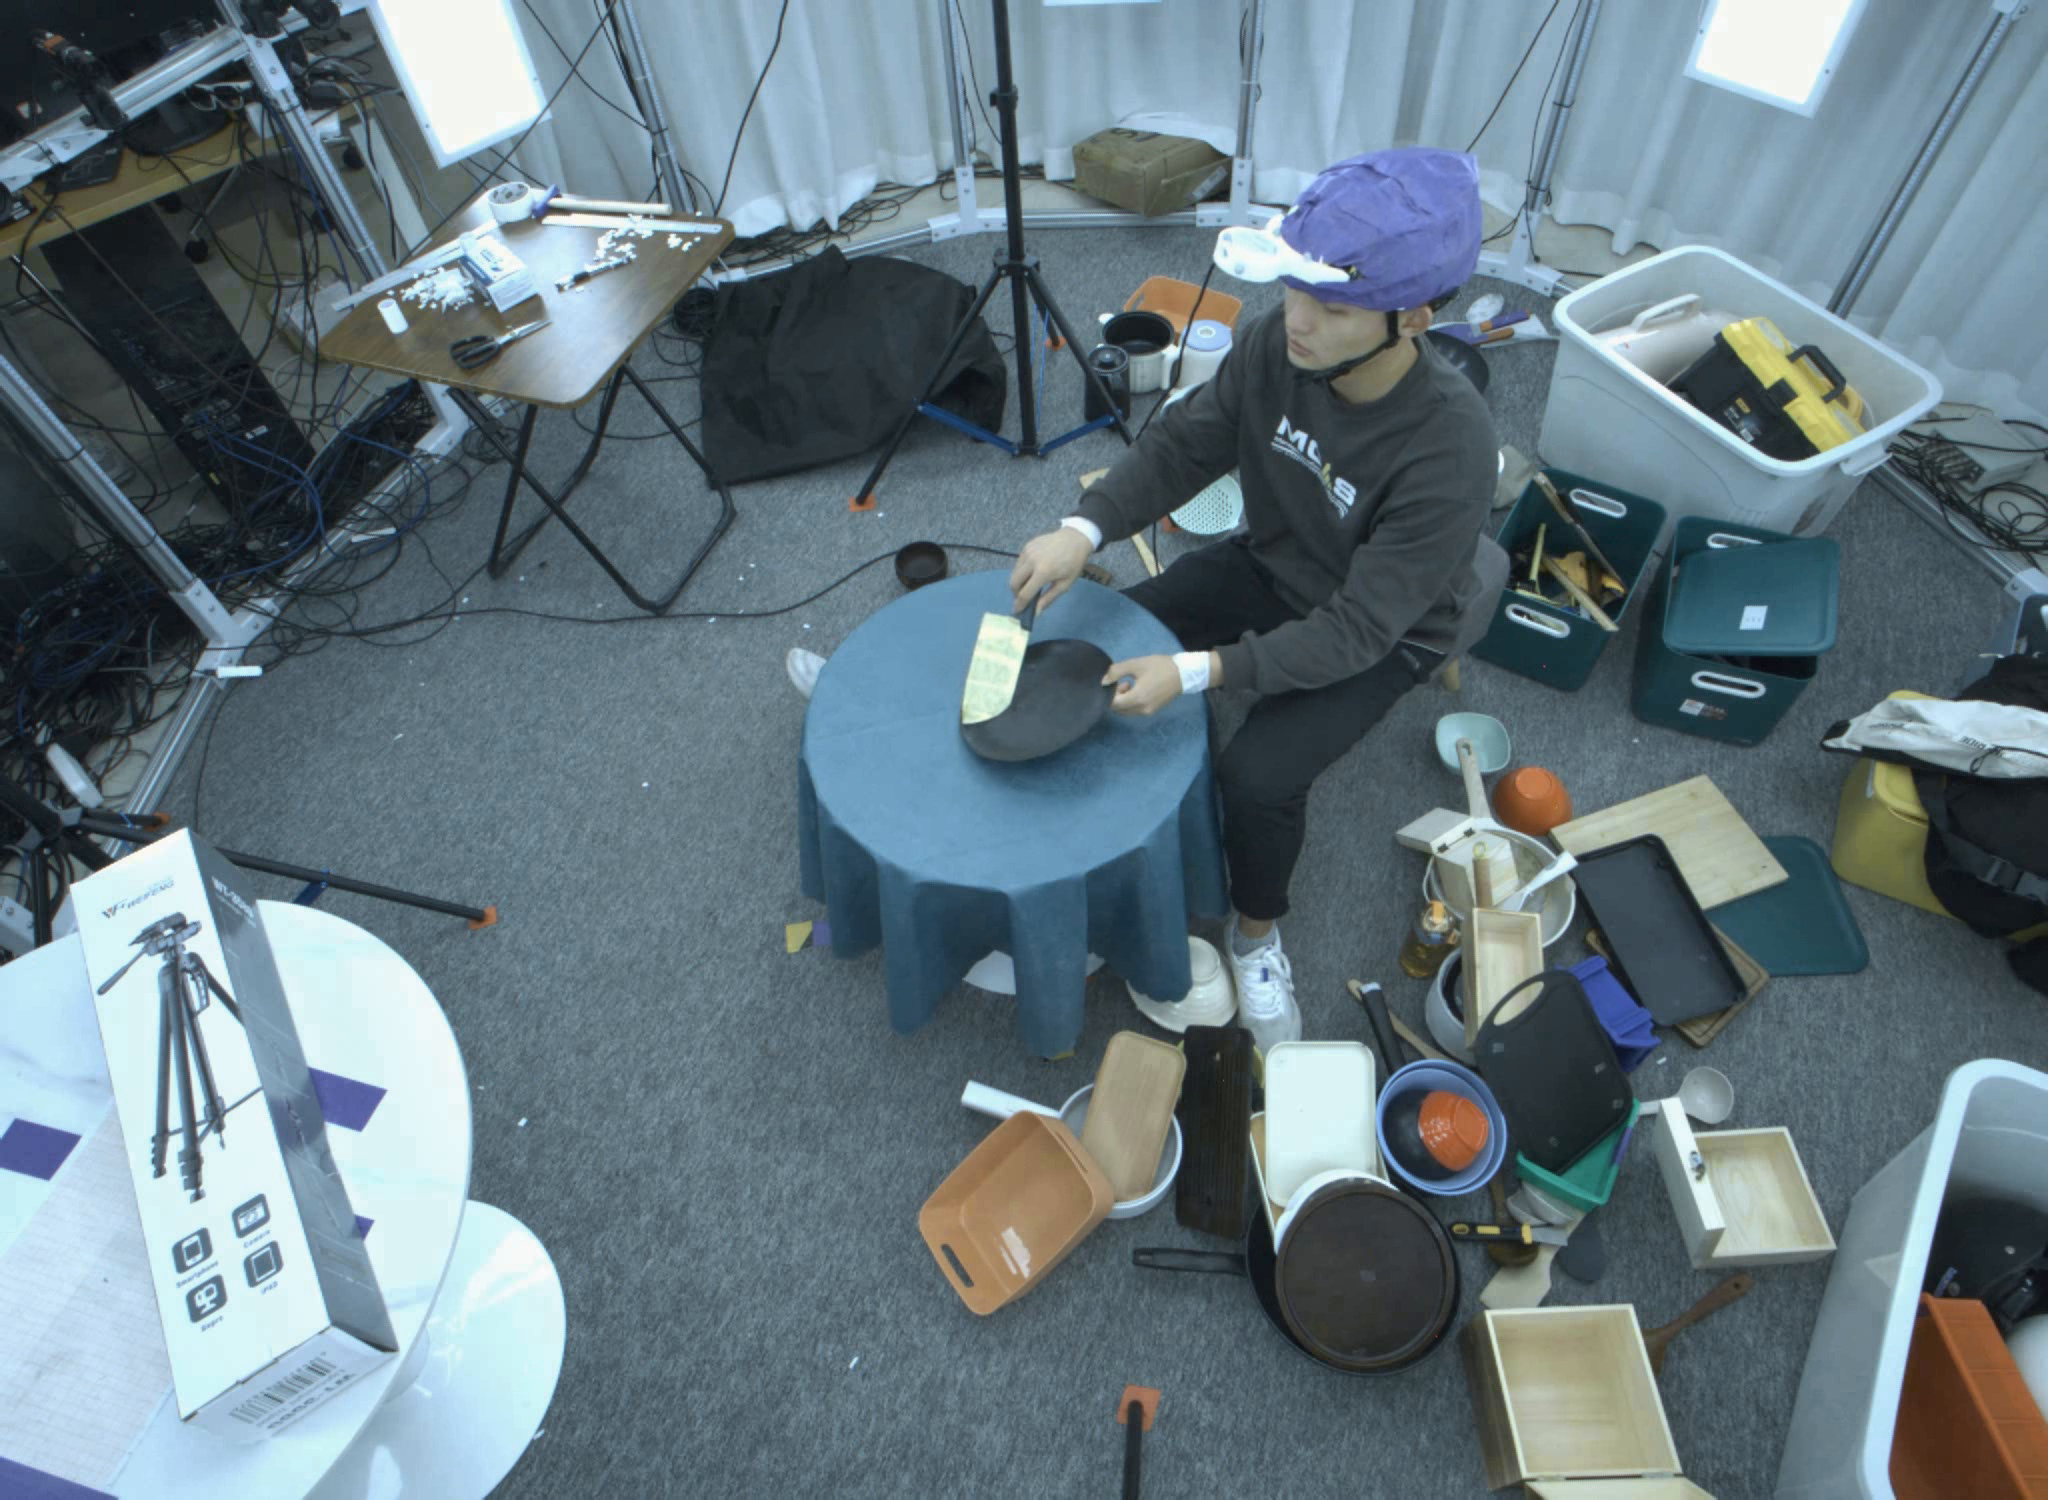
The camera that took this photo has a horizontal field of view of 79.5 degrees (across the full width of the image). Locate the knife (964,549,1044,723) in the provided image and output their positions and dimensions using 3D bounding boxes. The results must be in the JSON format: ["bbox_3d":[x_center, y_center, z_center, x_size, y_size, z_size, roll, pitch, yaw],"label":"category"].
[{"bbox_3d":[-0.028,-0.174,1.836,0.081,0.027,0.289,17,77,1],"label":"knife"}]

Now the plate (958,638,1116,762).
[{"bbox_3d":[0.020,-0.071,1.797,0.242,0.024,0.242,-12,45,14],"label":"plate"}]
